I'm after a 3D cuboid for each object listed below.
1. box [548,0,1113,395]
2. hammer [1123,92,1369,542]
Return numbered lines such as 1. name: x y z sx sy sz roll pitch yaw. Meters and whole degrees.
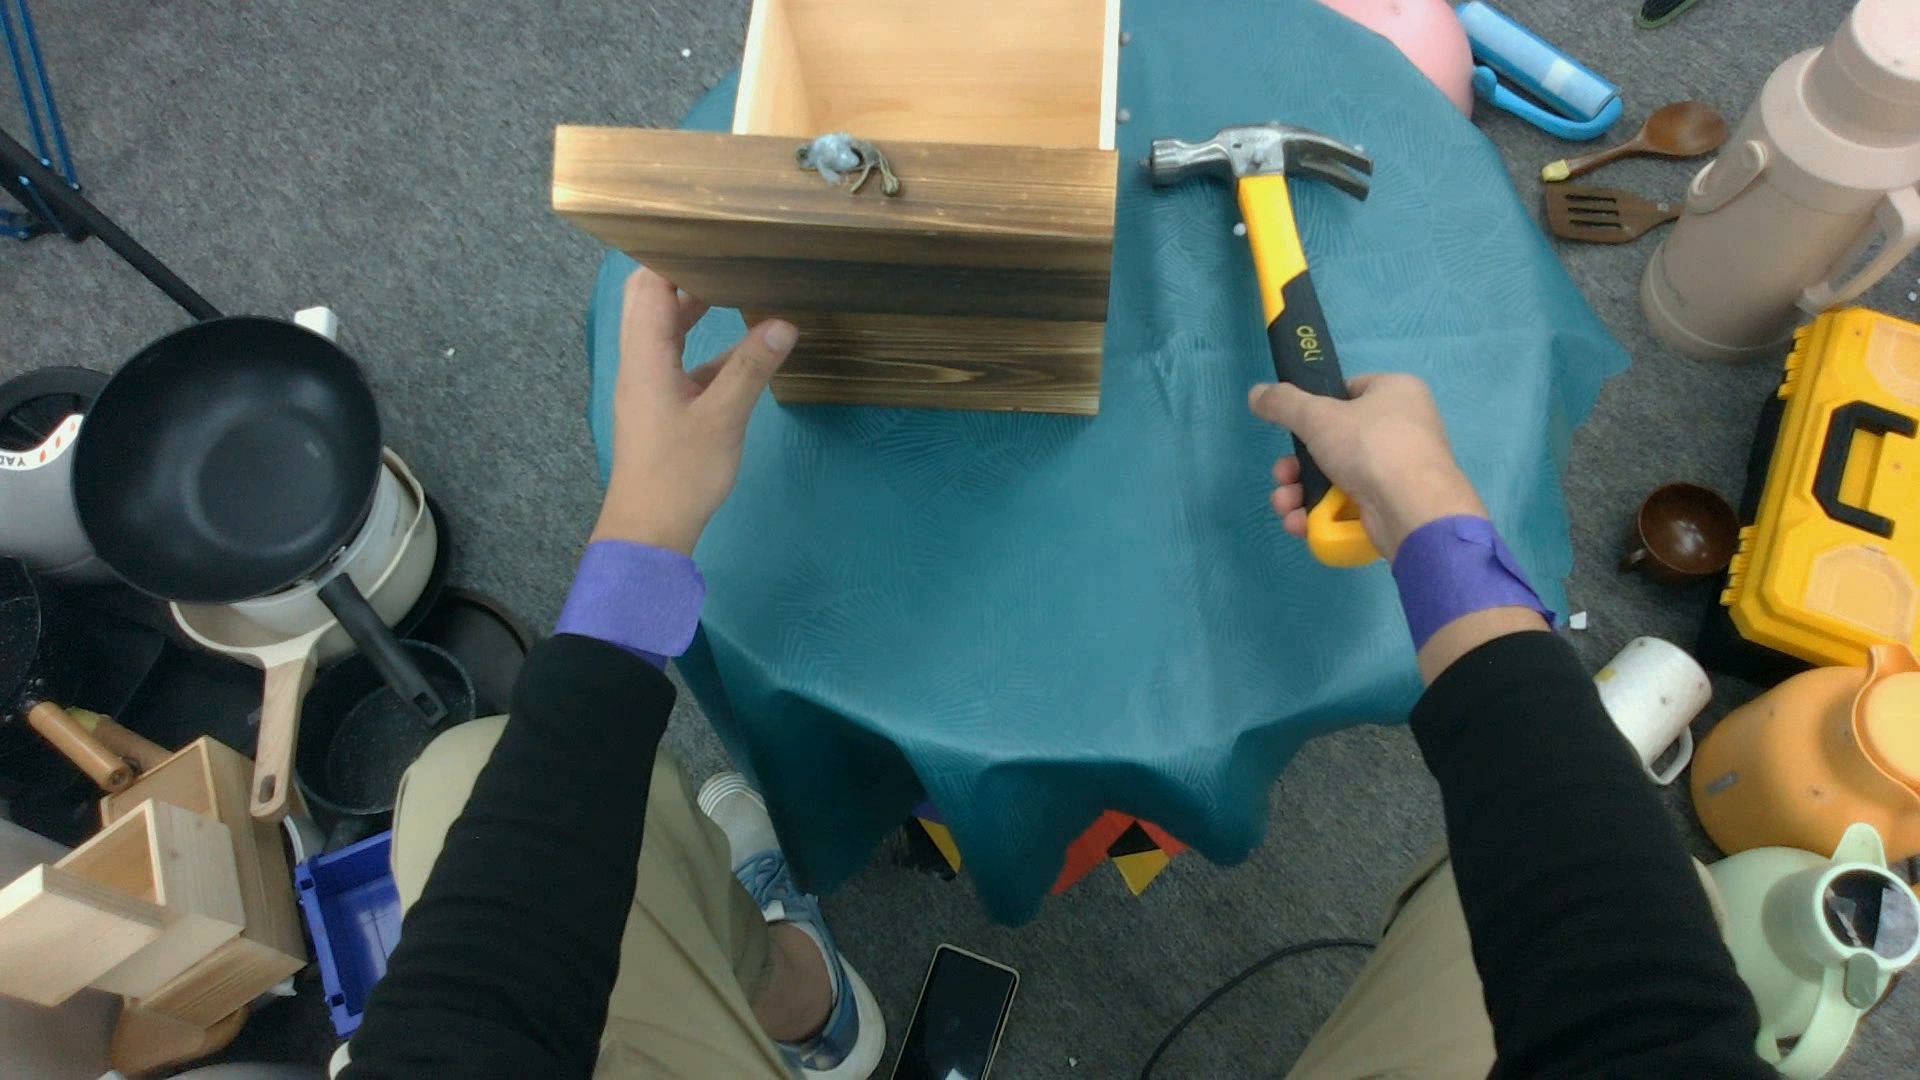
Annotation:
1. box: -0.035 -0.205 0.697 0.208 0.374 0.323 3 69 3
2. hammer: 0.179 -0.143 0.793 0.131 0.032 0.340 -7 55 5
